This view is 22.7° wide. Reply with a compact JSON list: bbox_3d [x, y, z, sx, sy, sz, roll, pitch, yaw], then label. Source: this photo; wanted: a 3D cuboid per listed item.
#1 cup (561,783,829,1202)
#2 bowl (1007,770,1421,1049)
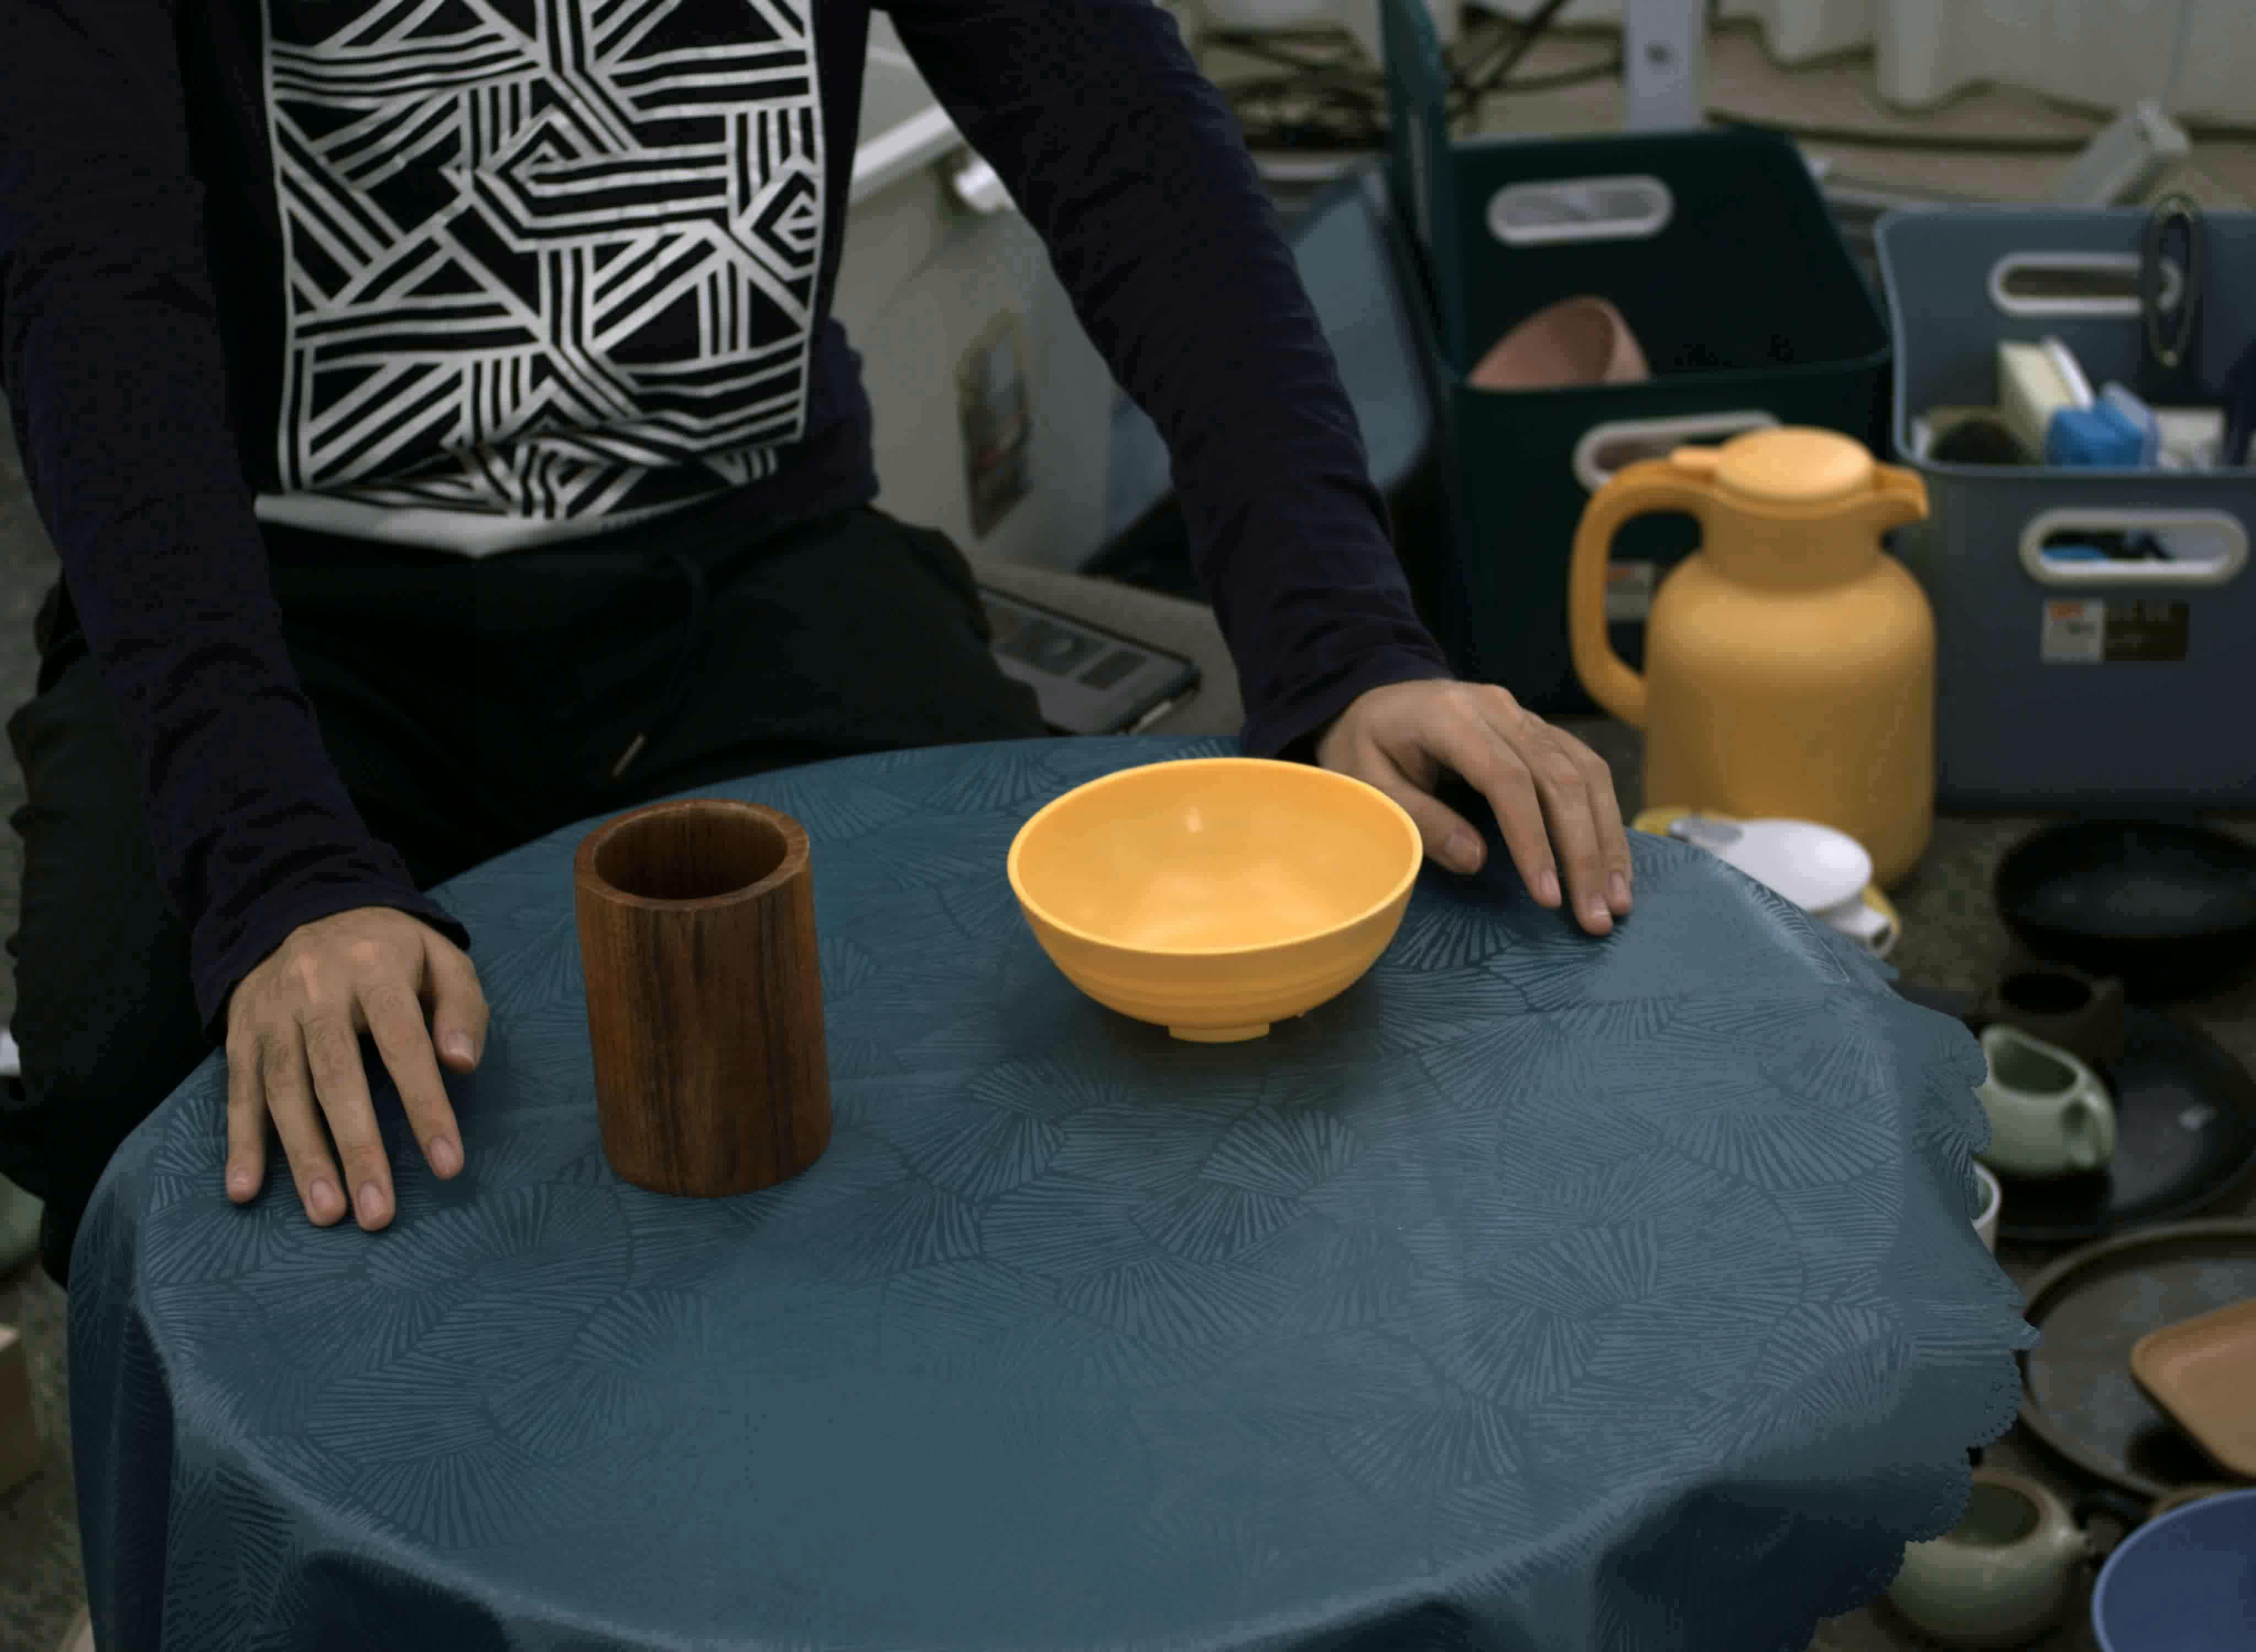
[{"bbox_3d":[-0.144,0.055,1.876,0.087,0.117,0.089,-1,25,1],"label":"cup"},{"bbox_3d":[0.031,0.037,1.961,0.144,0.059,0.147,-2,25,1],"label":"bowl"}]
